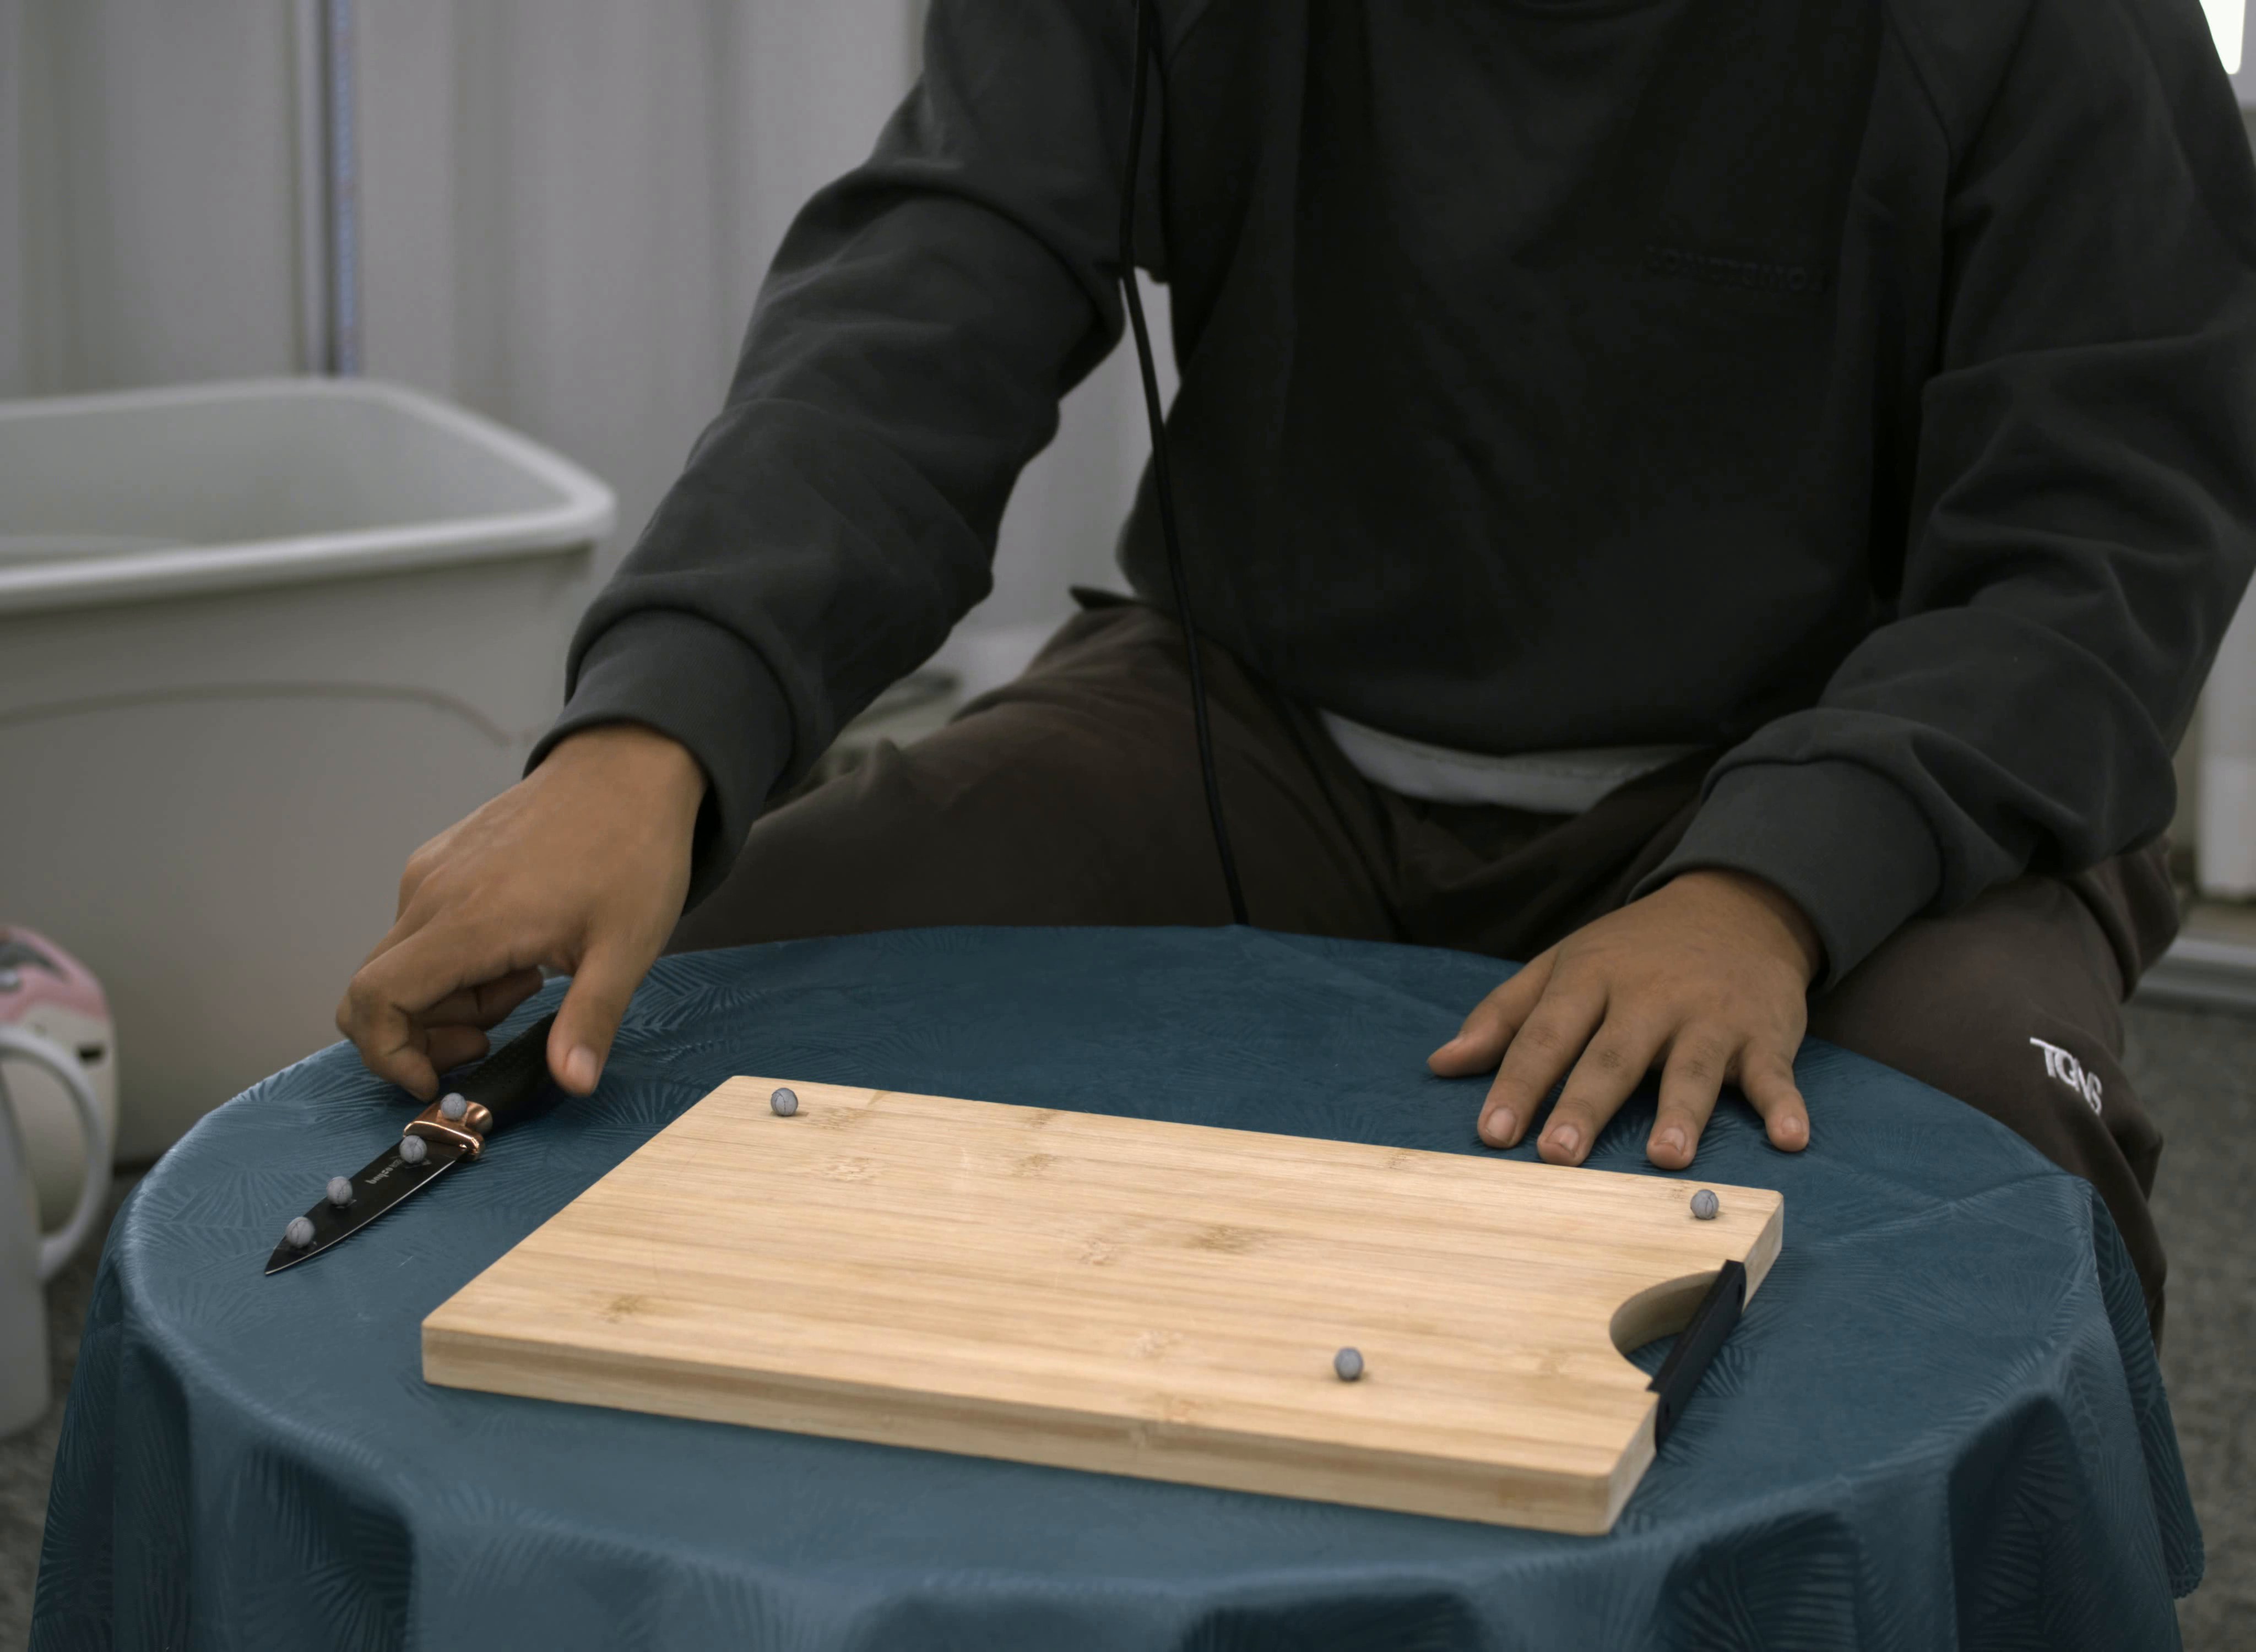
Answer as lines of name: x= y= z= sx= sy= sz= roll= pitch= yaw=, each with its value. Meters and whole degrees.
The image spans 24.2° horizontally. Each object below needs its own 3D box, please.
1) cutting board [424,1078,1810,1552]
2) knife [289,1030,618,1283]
cutting board: x=0.005 y=0.134 z=1.519 sx=0.346 sy=0.024 sz=0.250 roll=5 pitch=16 yaw=16
knife: x=-0.211 y=0.102 z=1.637 sx=0.026 sy=0.017 sz=0.225 roll=12 pitch=19 yaw=17
